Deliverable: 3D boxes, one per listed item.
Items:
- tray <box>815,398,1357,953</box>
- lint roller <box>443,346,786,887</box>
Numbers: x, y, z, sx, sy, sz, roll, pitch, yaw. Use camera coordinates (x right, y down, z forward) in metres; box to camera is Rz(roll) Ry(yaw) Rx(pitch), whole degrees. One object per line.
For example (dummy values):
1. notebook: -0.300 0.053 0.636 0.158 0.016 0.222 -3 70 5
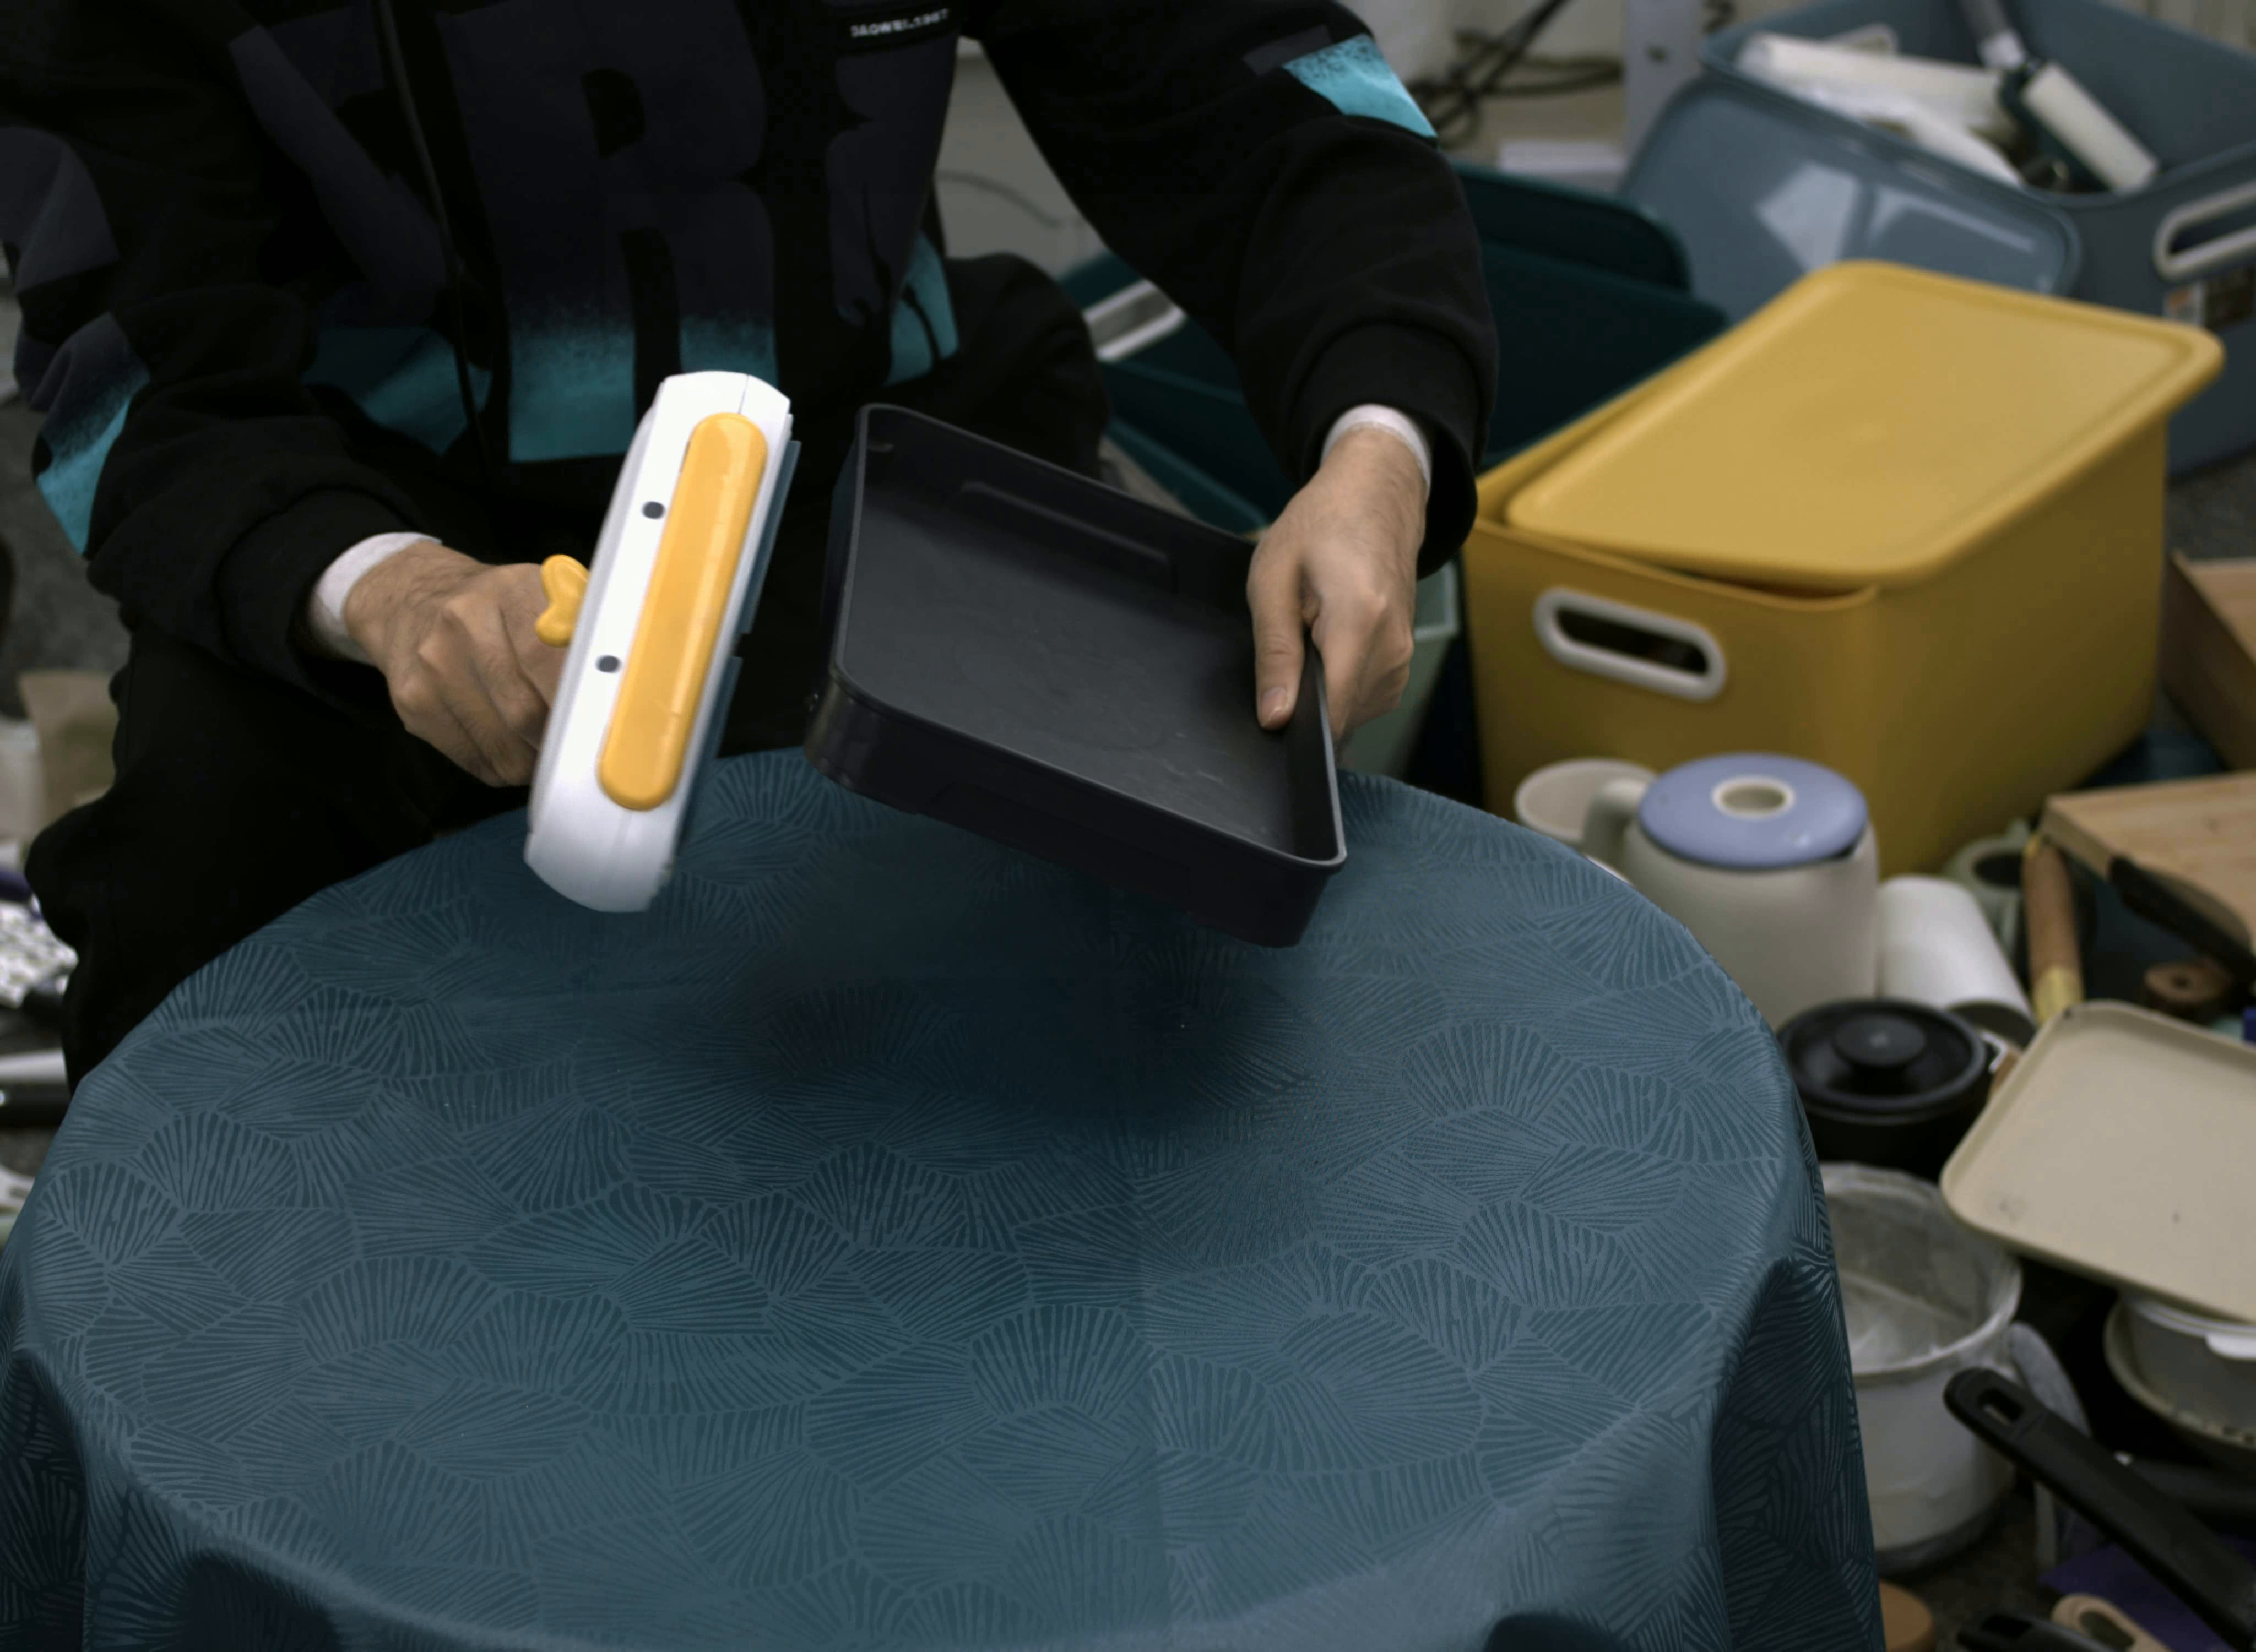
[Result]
1. tray: -0.019 -0.058 1.974 0.183 0.037 0.322 20 20 -10
2. lint roller: -0.186 -0.055 1.955 0.074 0.189 0.196 16 65 -16
